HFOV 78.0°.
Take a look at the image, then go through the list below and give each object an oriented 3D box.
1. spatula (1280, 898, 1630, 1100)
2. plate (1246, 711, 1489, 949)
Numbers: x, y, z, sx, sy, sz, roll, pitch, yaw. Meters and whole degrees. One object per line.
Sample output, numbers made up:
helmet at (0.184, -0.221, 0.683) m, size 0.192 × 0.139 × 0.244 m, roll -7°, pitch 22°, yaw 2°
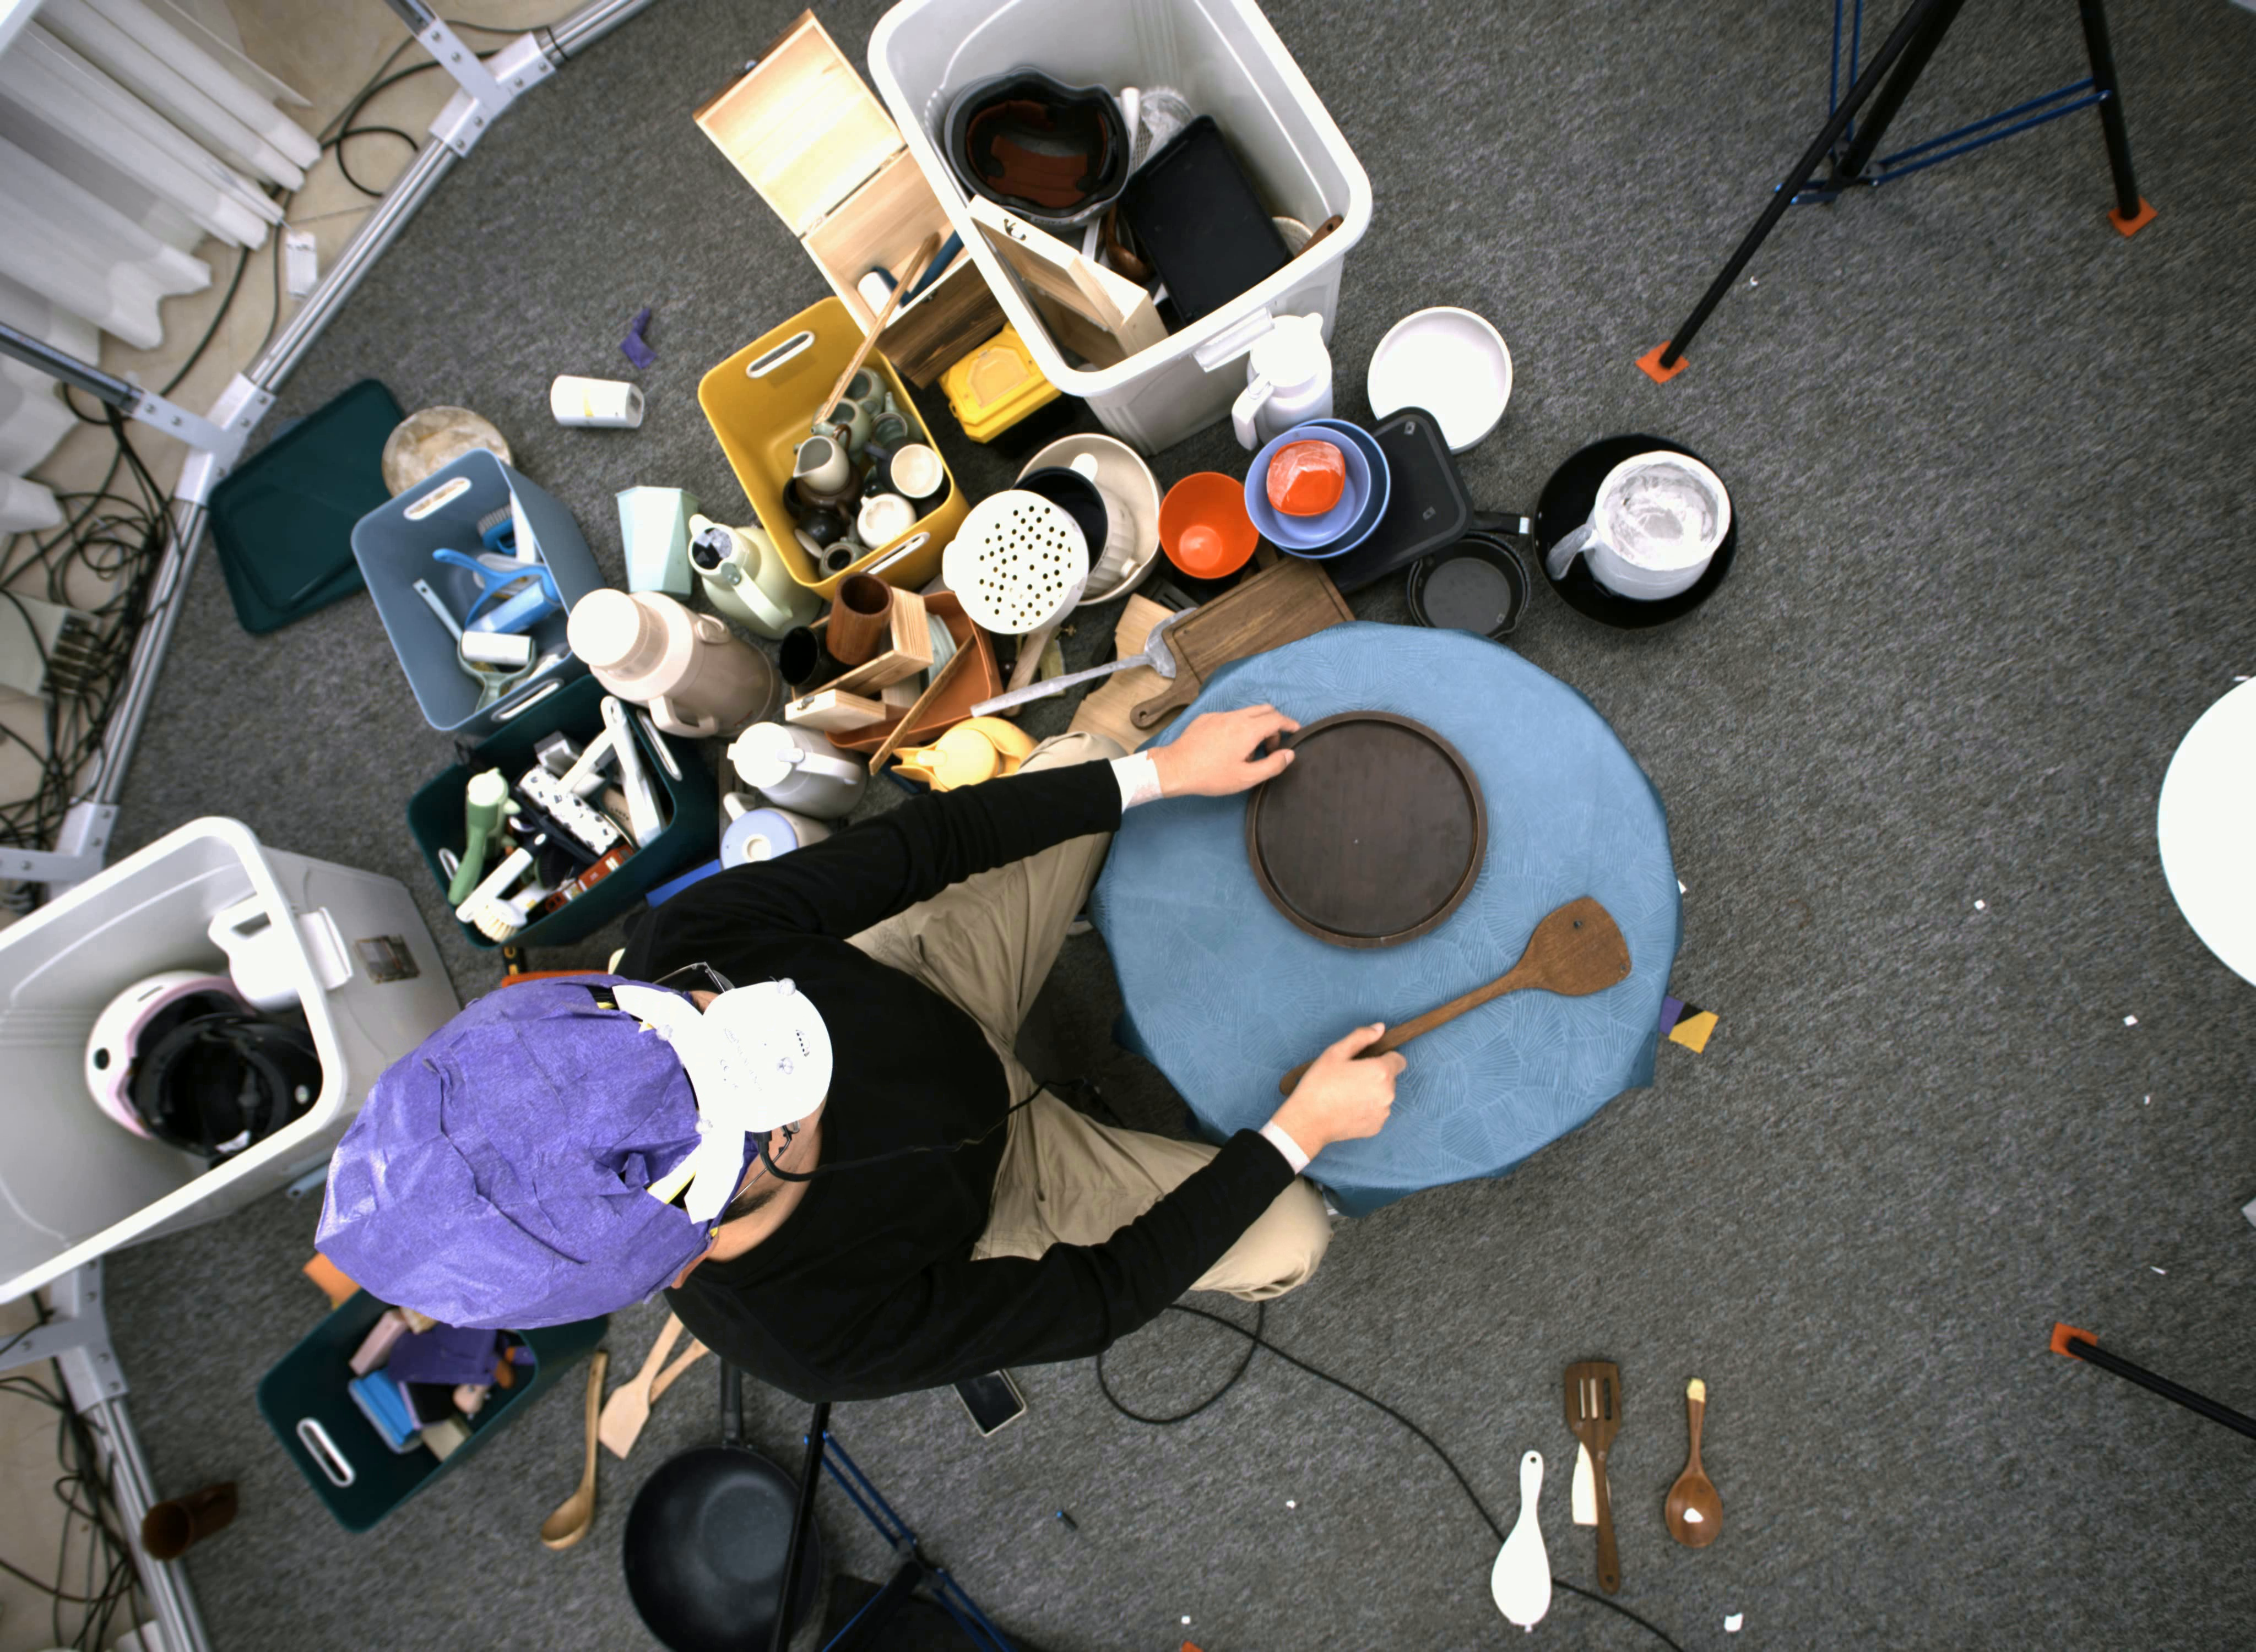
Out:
spatula at (0.332, 0.190, 1.424) m, size 0.387 × 0.016 × 0.095 m, roll -26°, pitch 82°, yaw 3°
plate at (0.251, 0.003, 1.455) m, size 0.256 × 0.029 × 0.254 m, roll -1°, pitch 88°, yaw 10°
